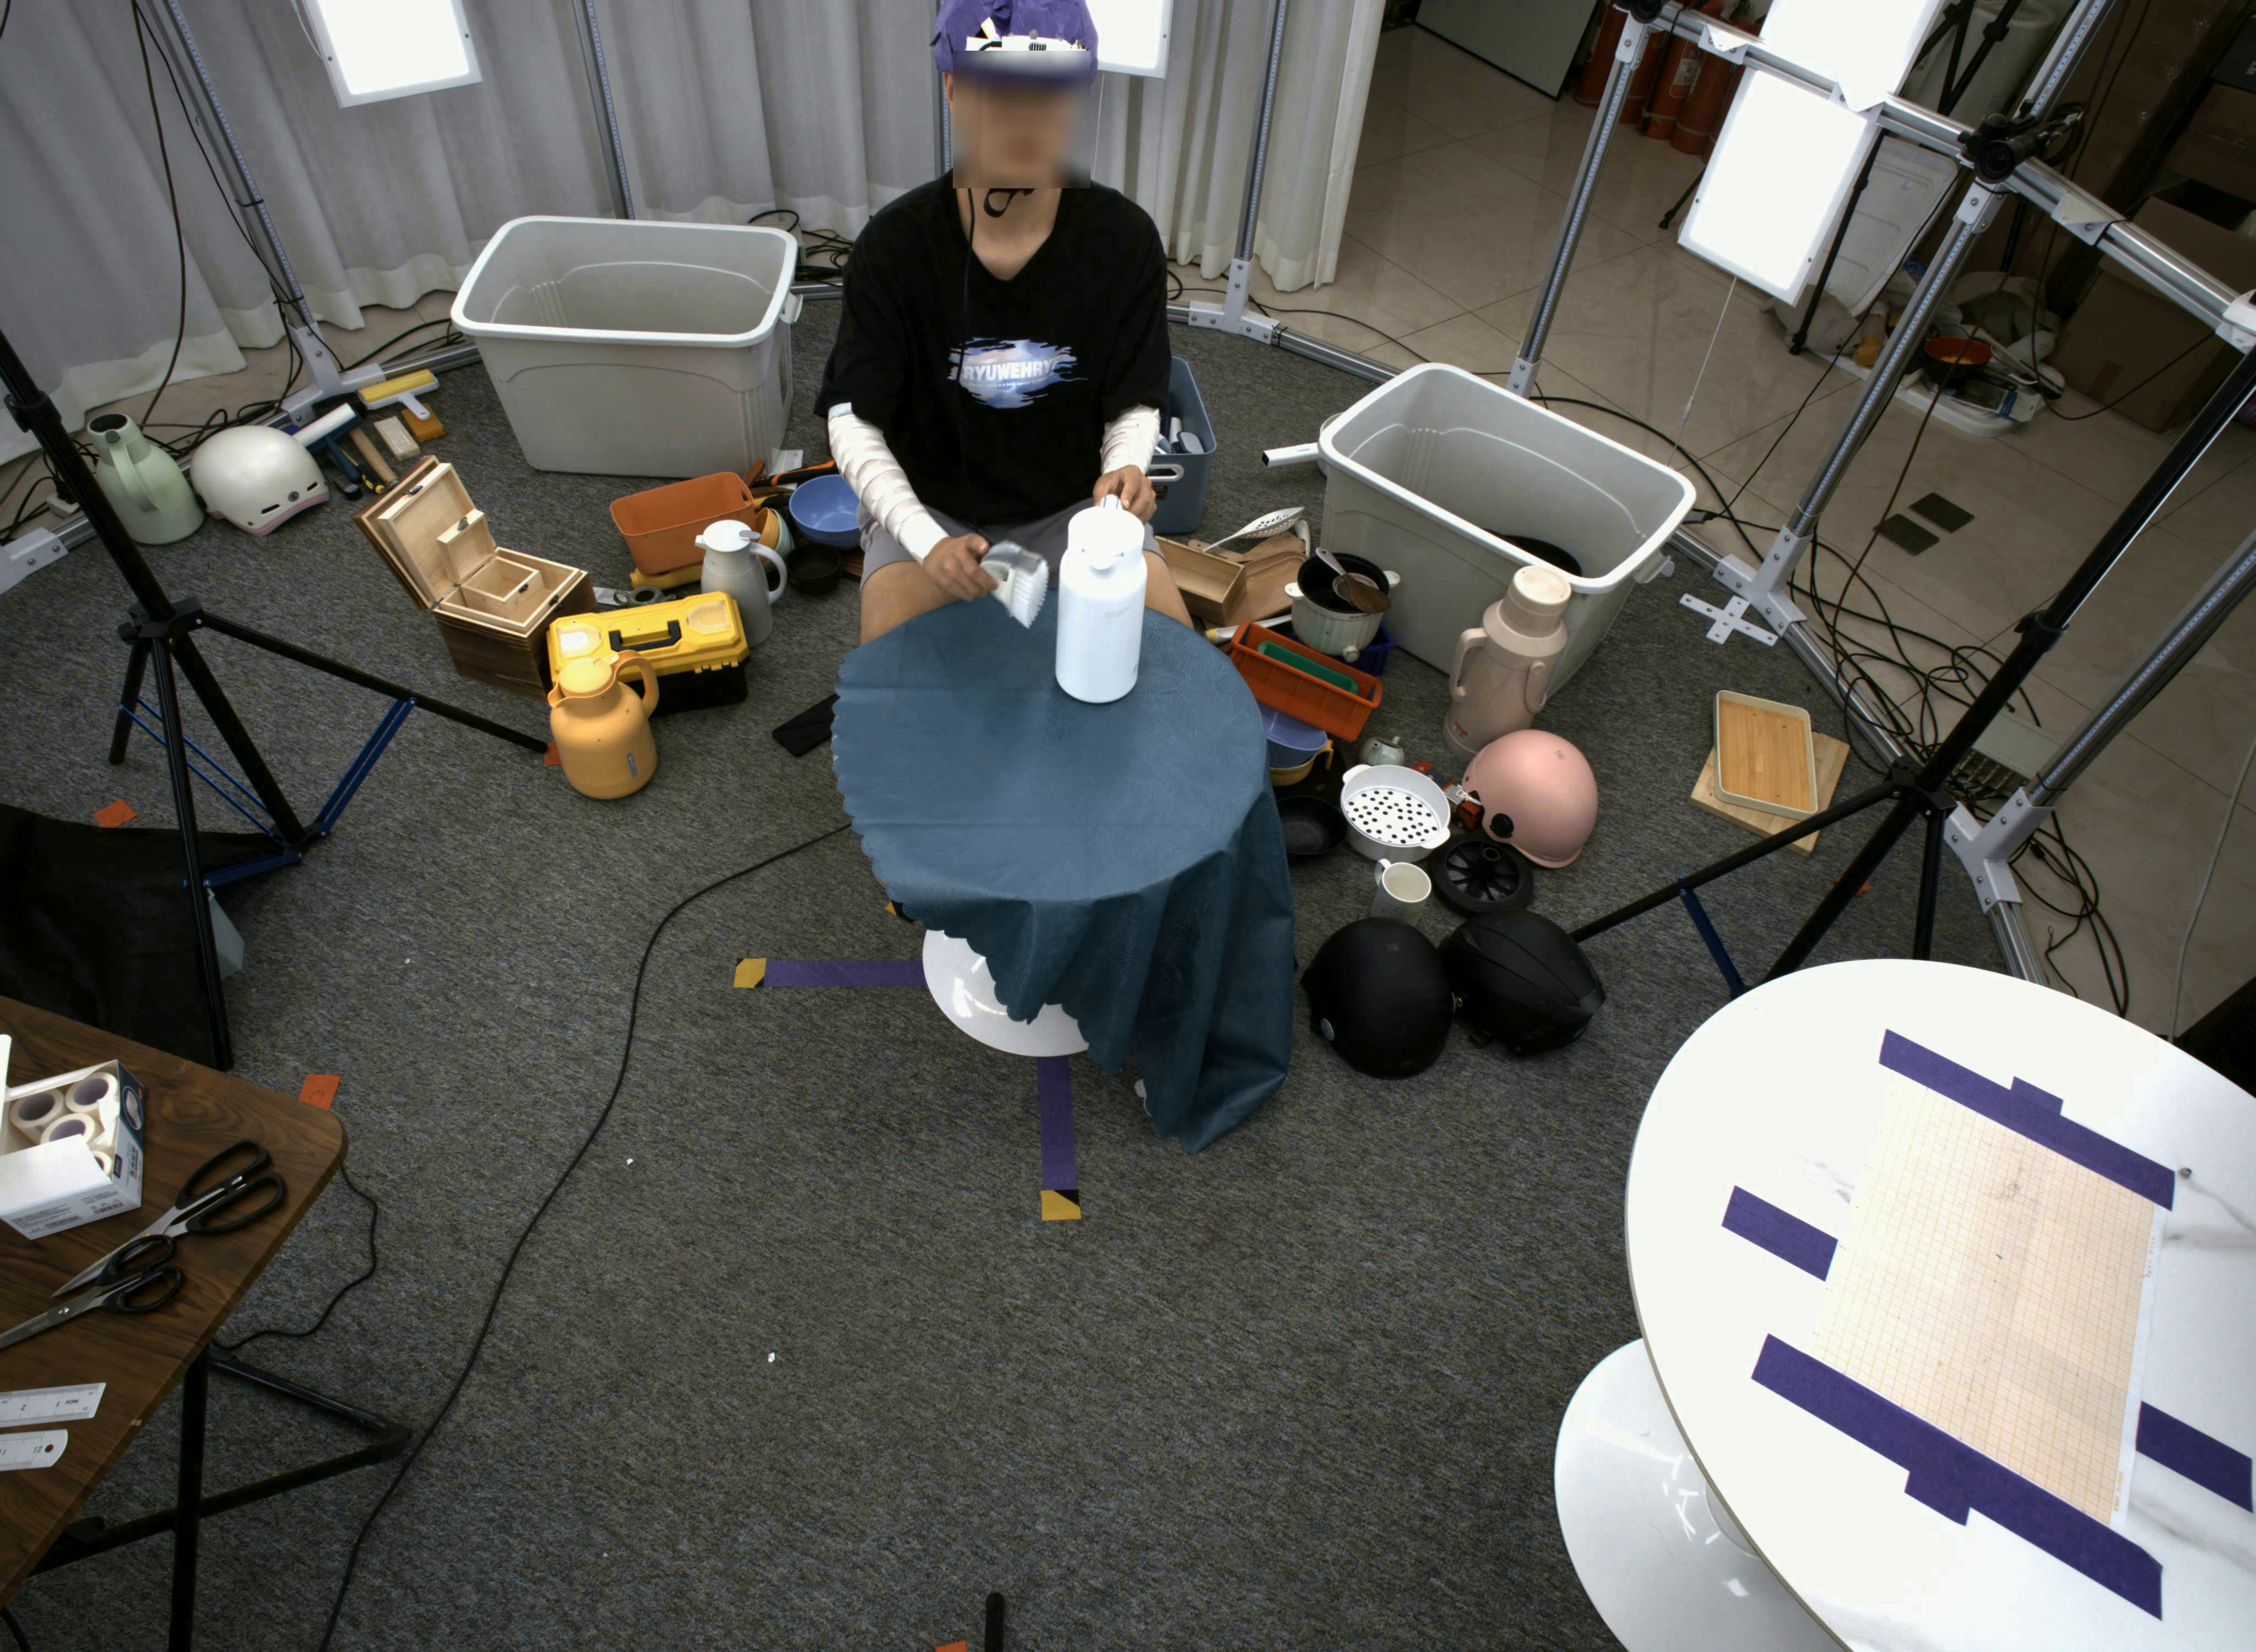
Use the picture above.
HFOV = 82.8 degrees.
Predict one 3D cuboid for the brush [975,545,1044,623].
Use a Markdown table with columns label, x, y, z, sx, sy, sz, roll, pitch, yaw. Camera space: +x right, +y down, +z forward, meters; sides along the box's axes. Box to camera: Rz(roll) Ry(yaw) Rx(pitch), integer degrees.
| label | x | y | z | sx | sy | sz | roll | pitch | yaw |
| --- | --- | --- | --- | --- | --- | --- | --- | --- | --- |
| brush | -0.160 | -0.340 | 1.732 | 0.094 | 0.174 | 0.062 | 26 | 77 | 0 |

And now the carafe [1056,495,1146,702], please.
| label | x | y | z | sx | sy | sz | roll | pitch | yaw |
| --- | --- | --- | --- | --- | --- | --- | --- | --- | --- |
| carafe | -0.038 | -0.314 | 1.769 | 0.124 | 0.262 | 0.177 | 4 | 49 | 2 |
